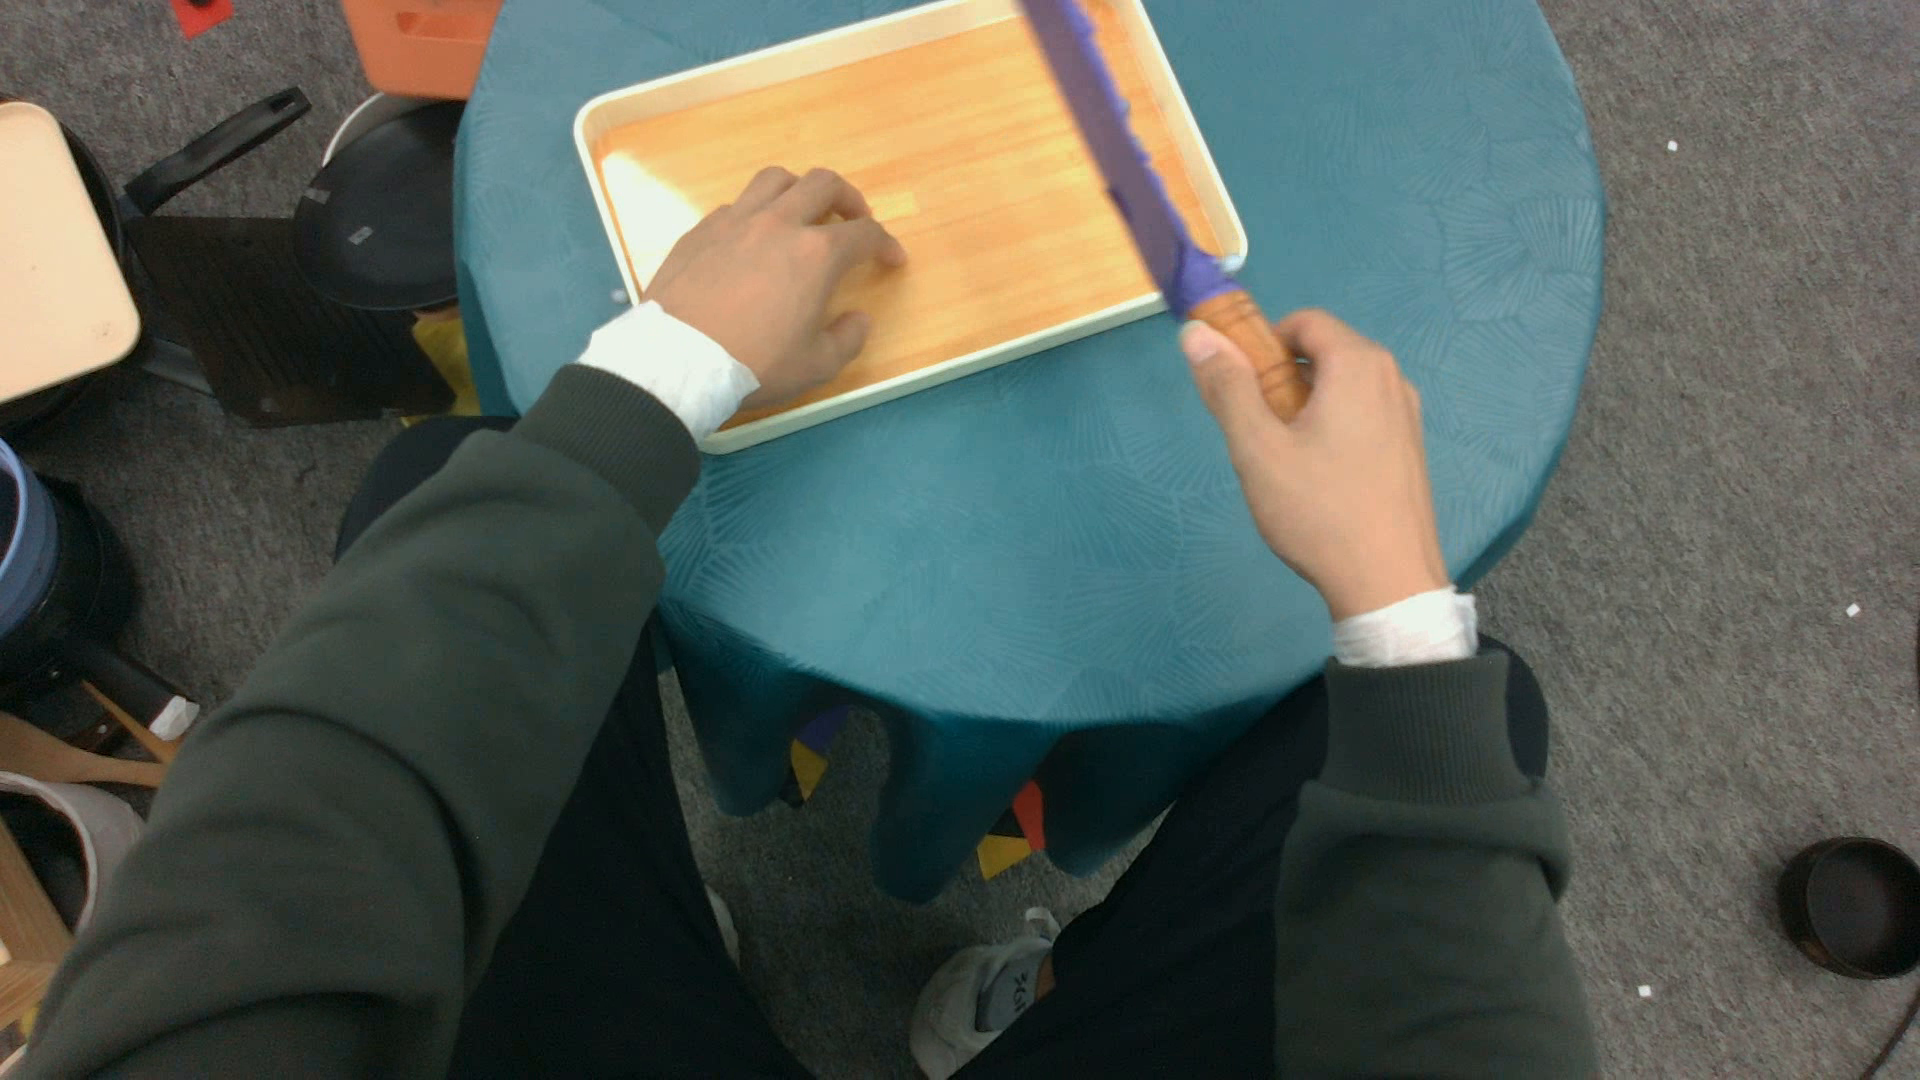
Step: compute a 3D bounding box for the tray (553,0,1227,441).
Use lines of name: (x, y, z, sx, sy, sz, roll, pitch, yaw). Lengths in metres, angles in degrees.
tray: (-0.033, -0.179, 0.696, 0.301, 0.027, 0.192, -20, 77, -11)

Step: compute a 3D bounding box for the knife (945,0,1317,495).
knife: (0.060, -0.157, 0.603, 0.032, 0.104, 0.315, -28, 82, -1)
